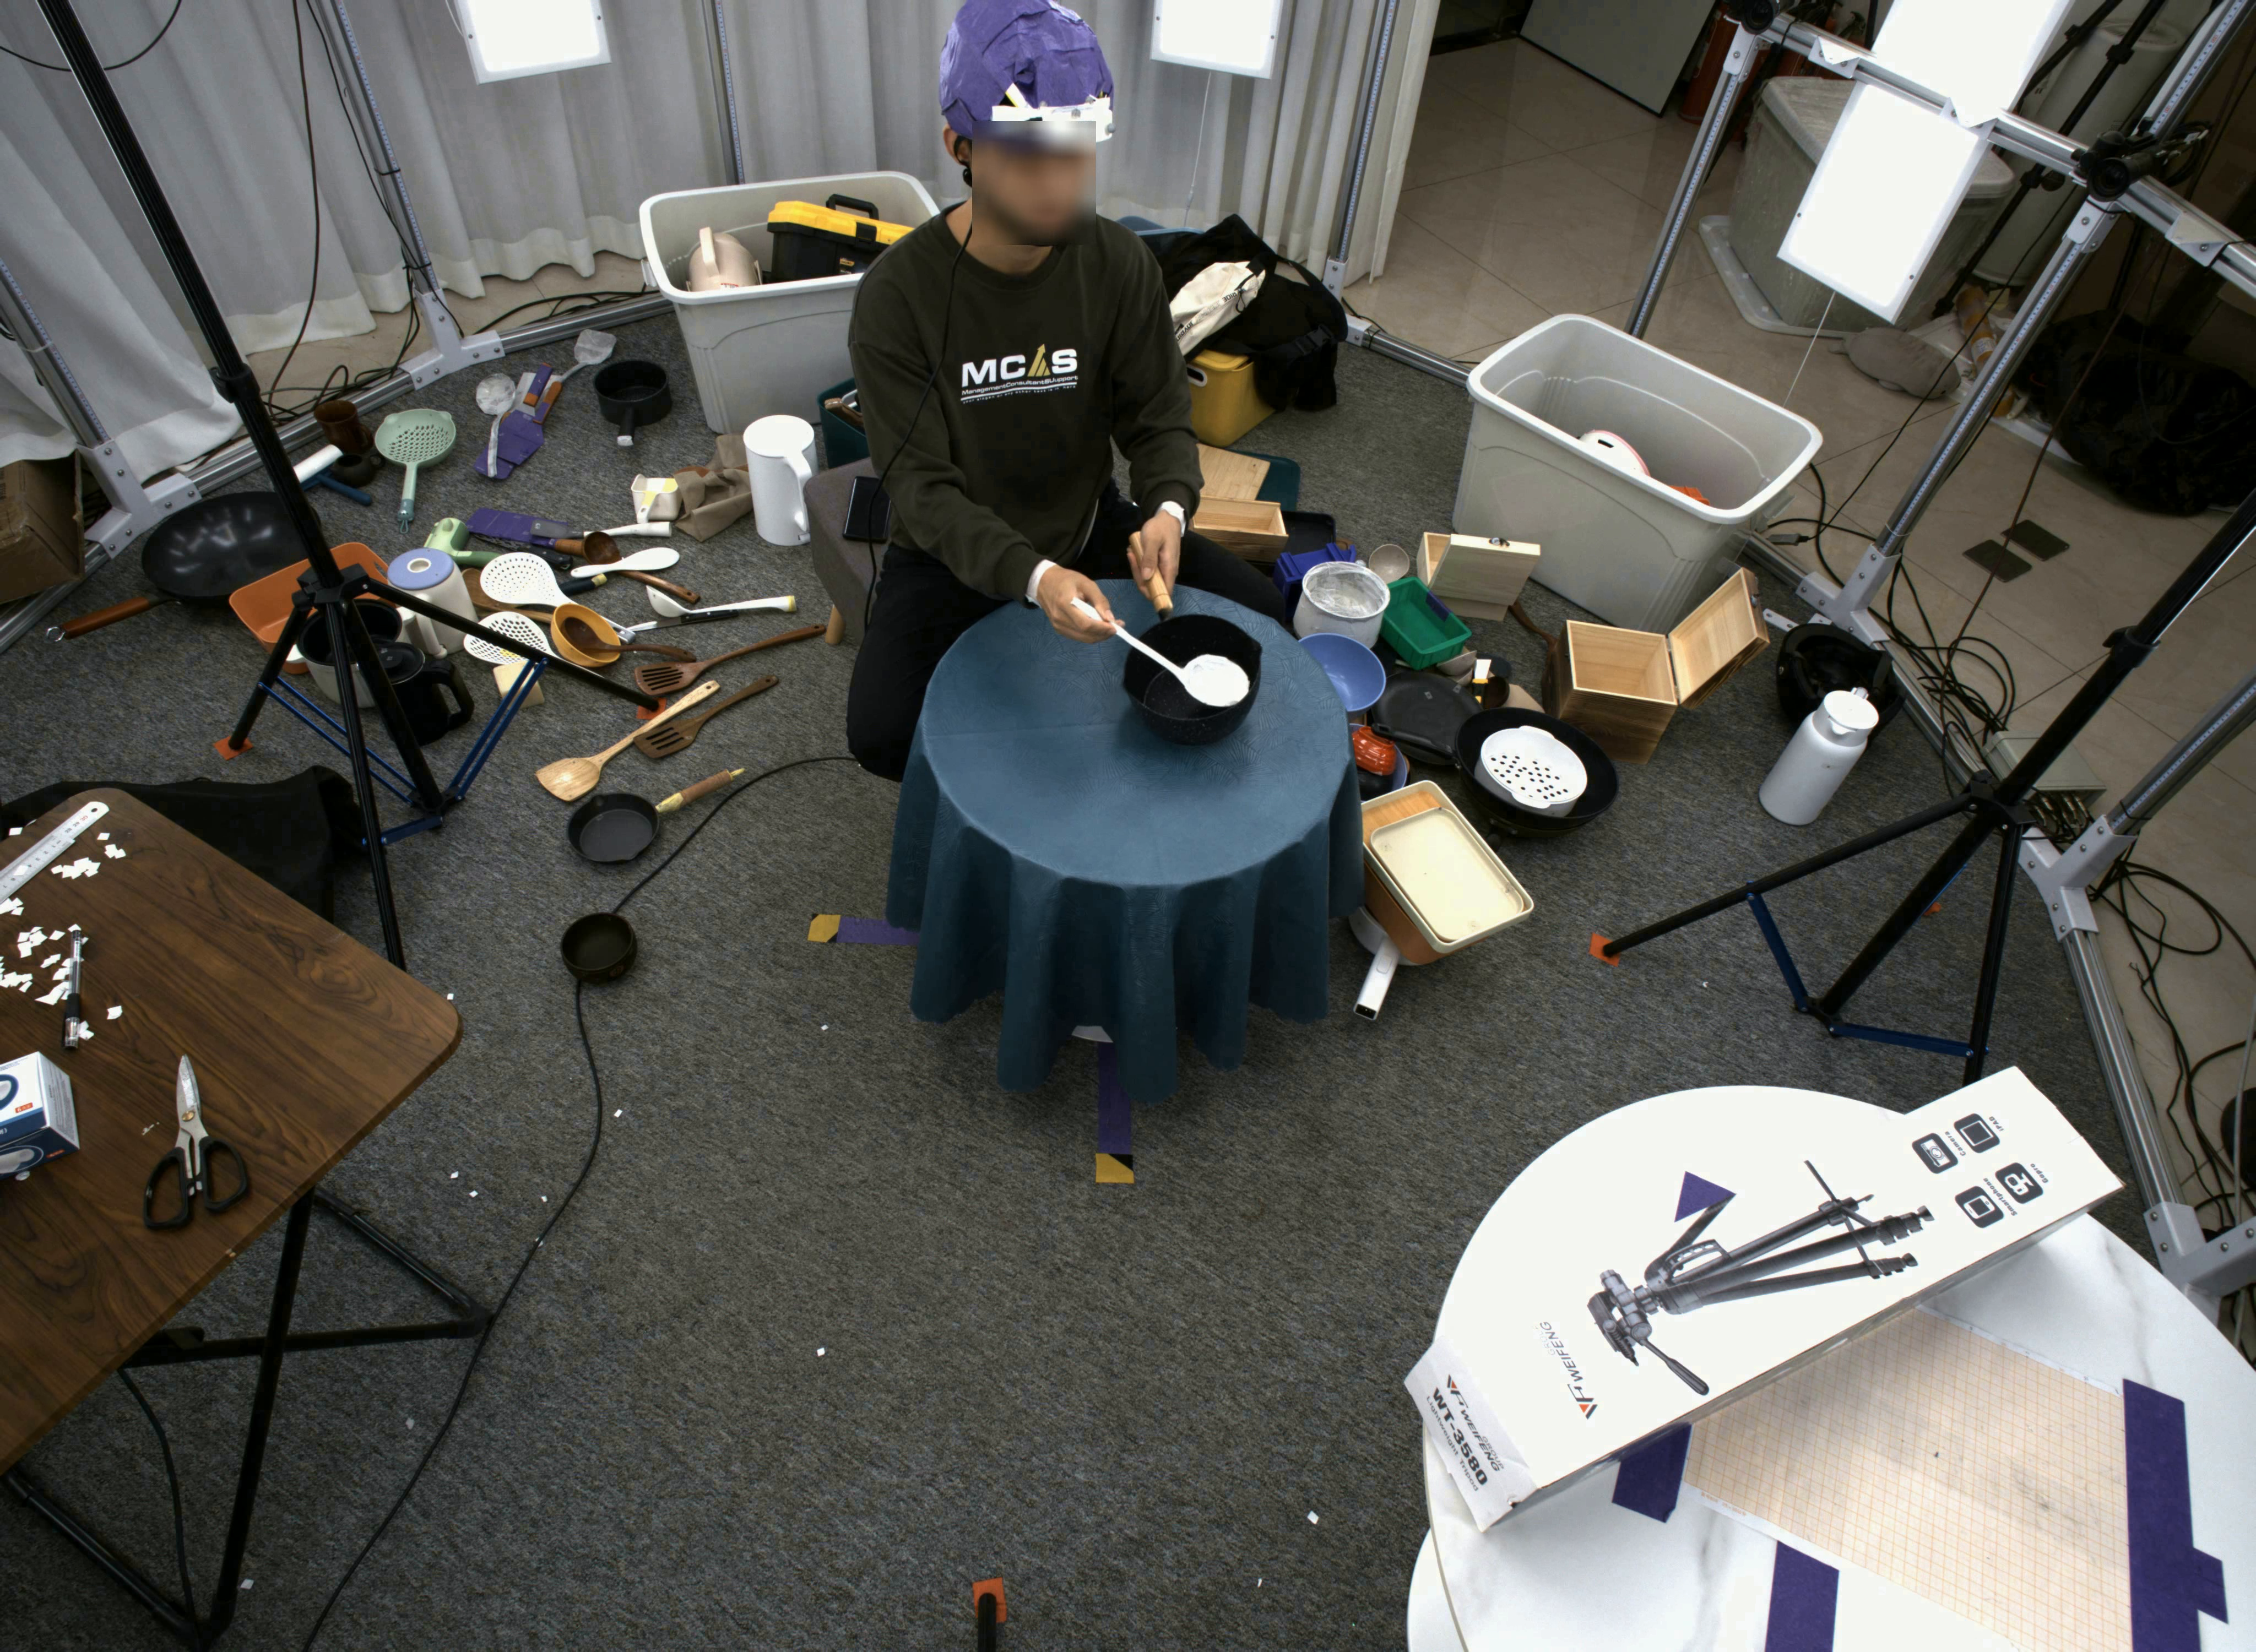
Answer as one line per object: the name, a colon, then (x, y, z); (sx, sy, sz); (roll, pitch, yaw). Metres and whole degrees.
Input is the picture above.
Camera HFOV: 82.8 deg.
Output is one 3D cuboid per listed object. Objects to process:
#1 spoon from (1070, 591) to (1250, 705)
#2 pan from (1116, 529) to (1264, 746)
spoon: (0.046, -0.249, 1.710); (0.273, 0.059, 0.103); (33, 42, -27)
pan: (0.065, -0.265, 1.807); (0.207, 0.106, 0.350); (-19, 58, -4)
